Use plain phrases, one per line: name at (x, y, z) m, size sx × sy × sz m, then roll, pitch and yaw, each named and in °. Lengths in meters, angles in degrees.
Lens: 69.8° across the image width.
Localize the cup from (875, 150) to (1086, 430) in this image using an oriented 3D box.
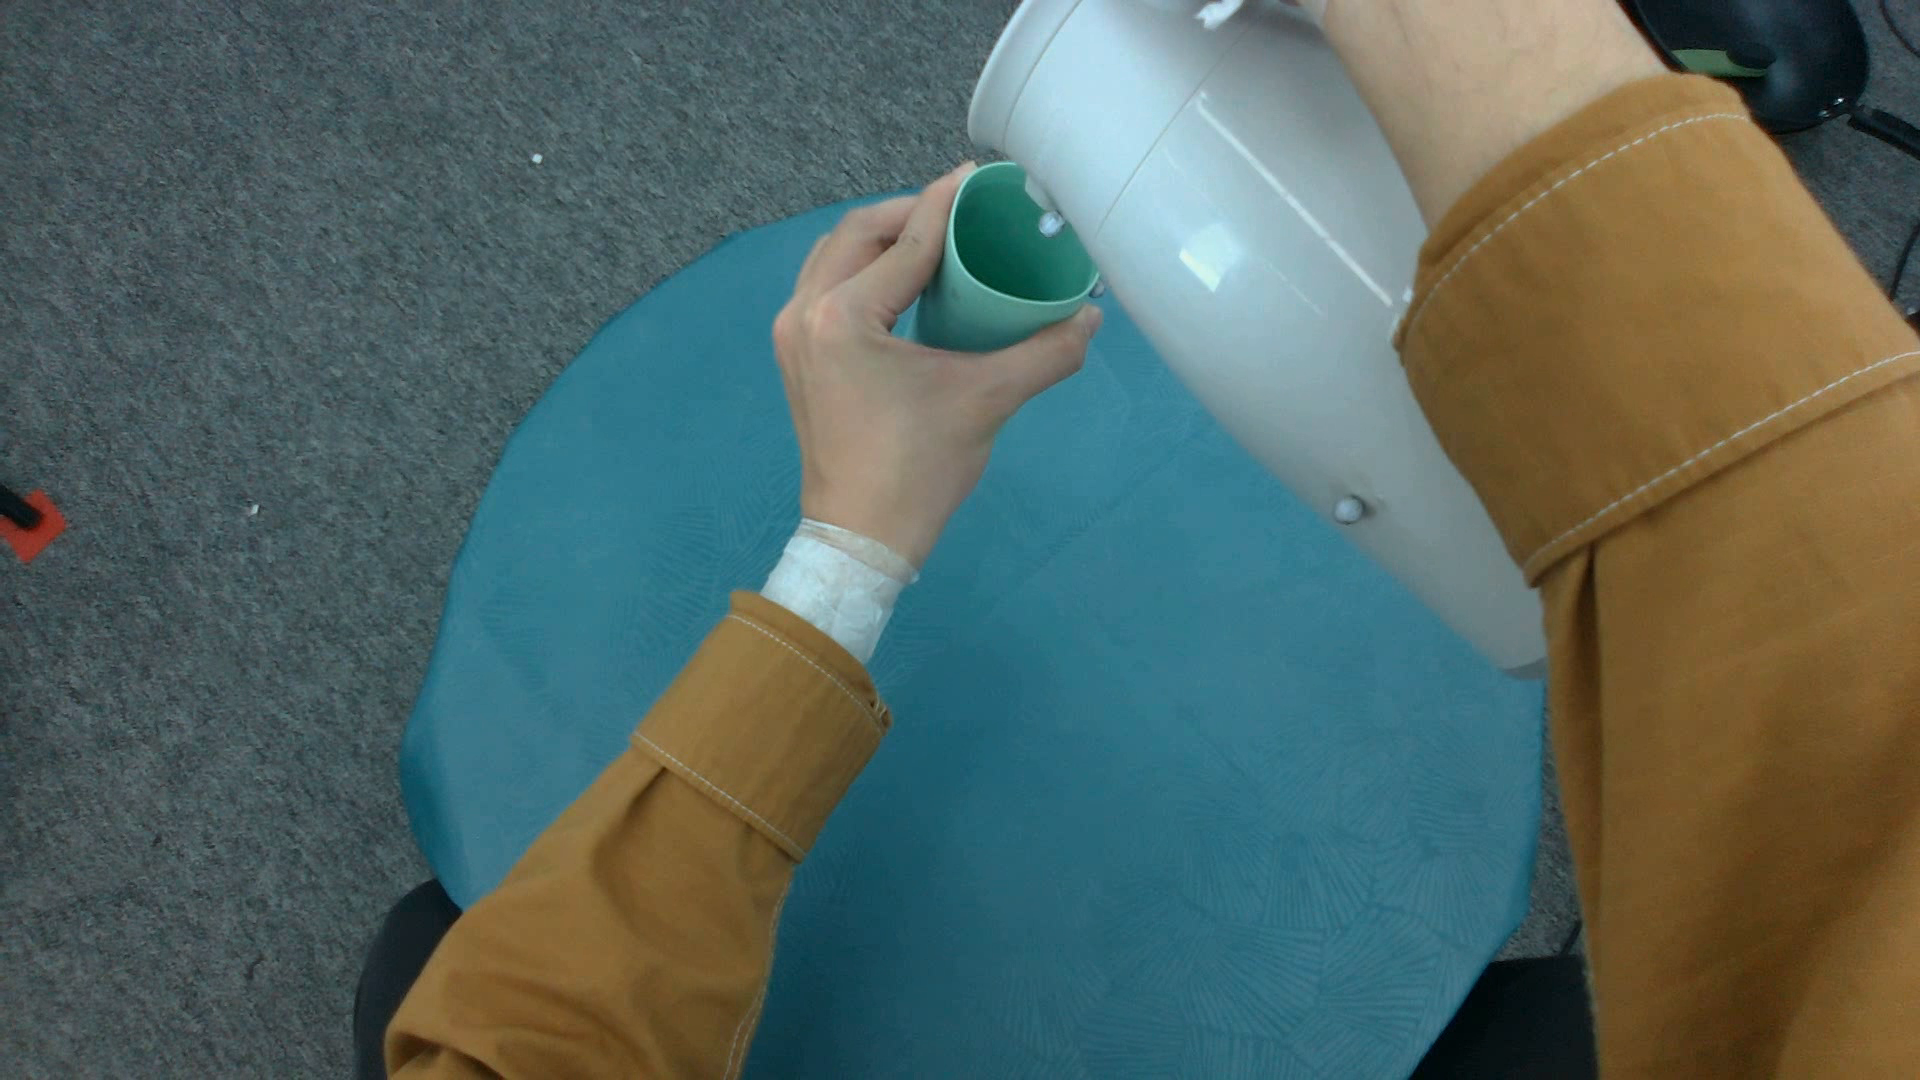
cup at (0.005, -0.102, 0.595) m, size 0.067 × 0.132 × 0.067 m, roll 5°, pitch 69°, yaw -13°

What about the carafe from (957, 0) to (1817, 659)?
carafe at (0.122, -0.101, 0.419) m, size 0.248 × 0.167 × 0.133 m, roll 42°, pitch 61°, yaw 5°
